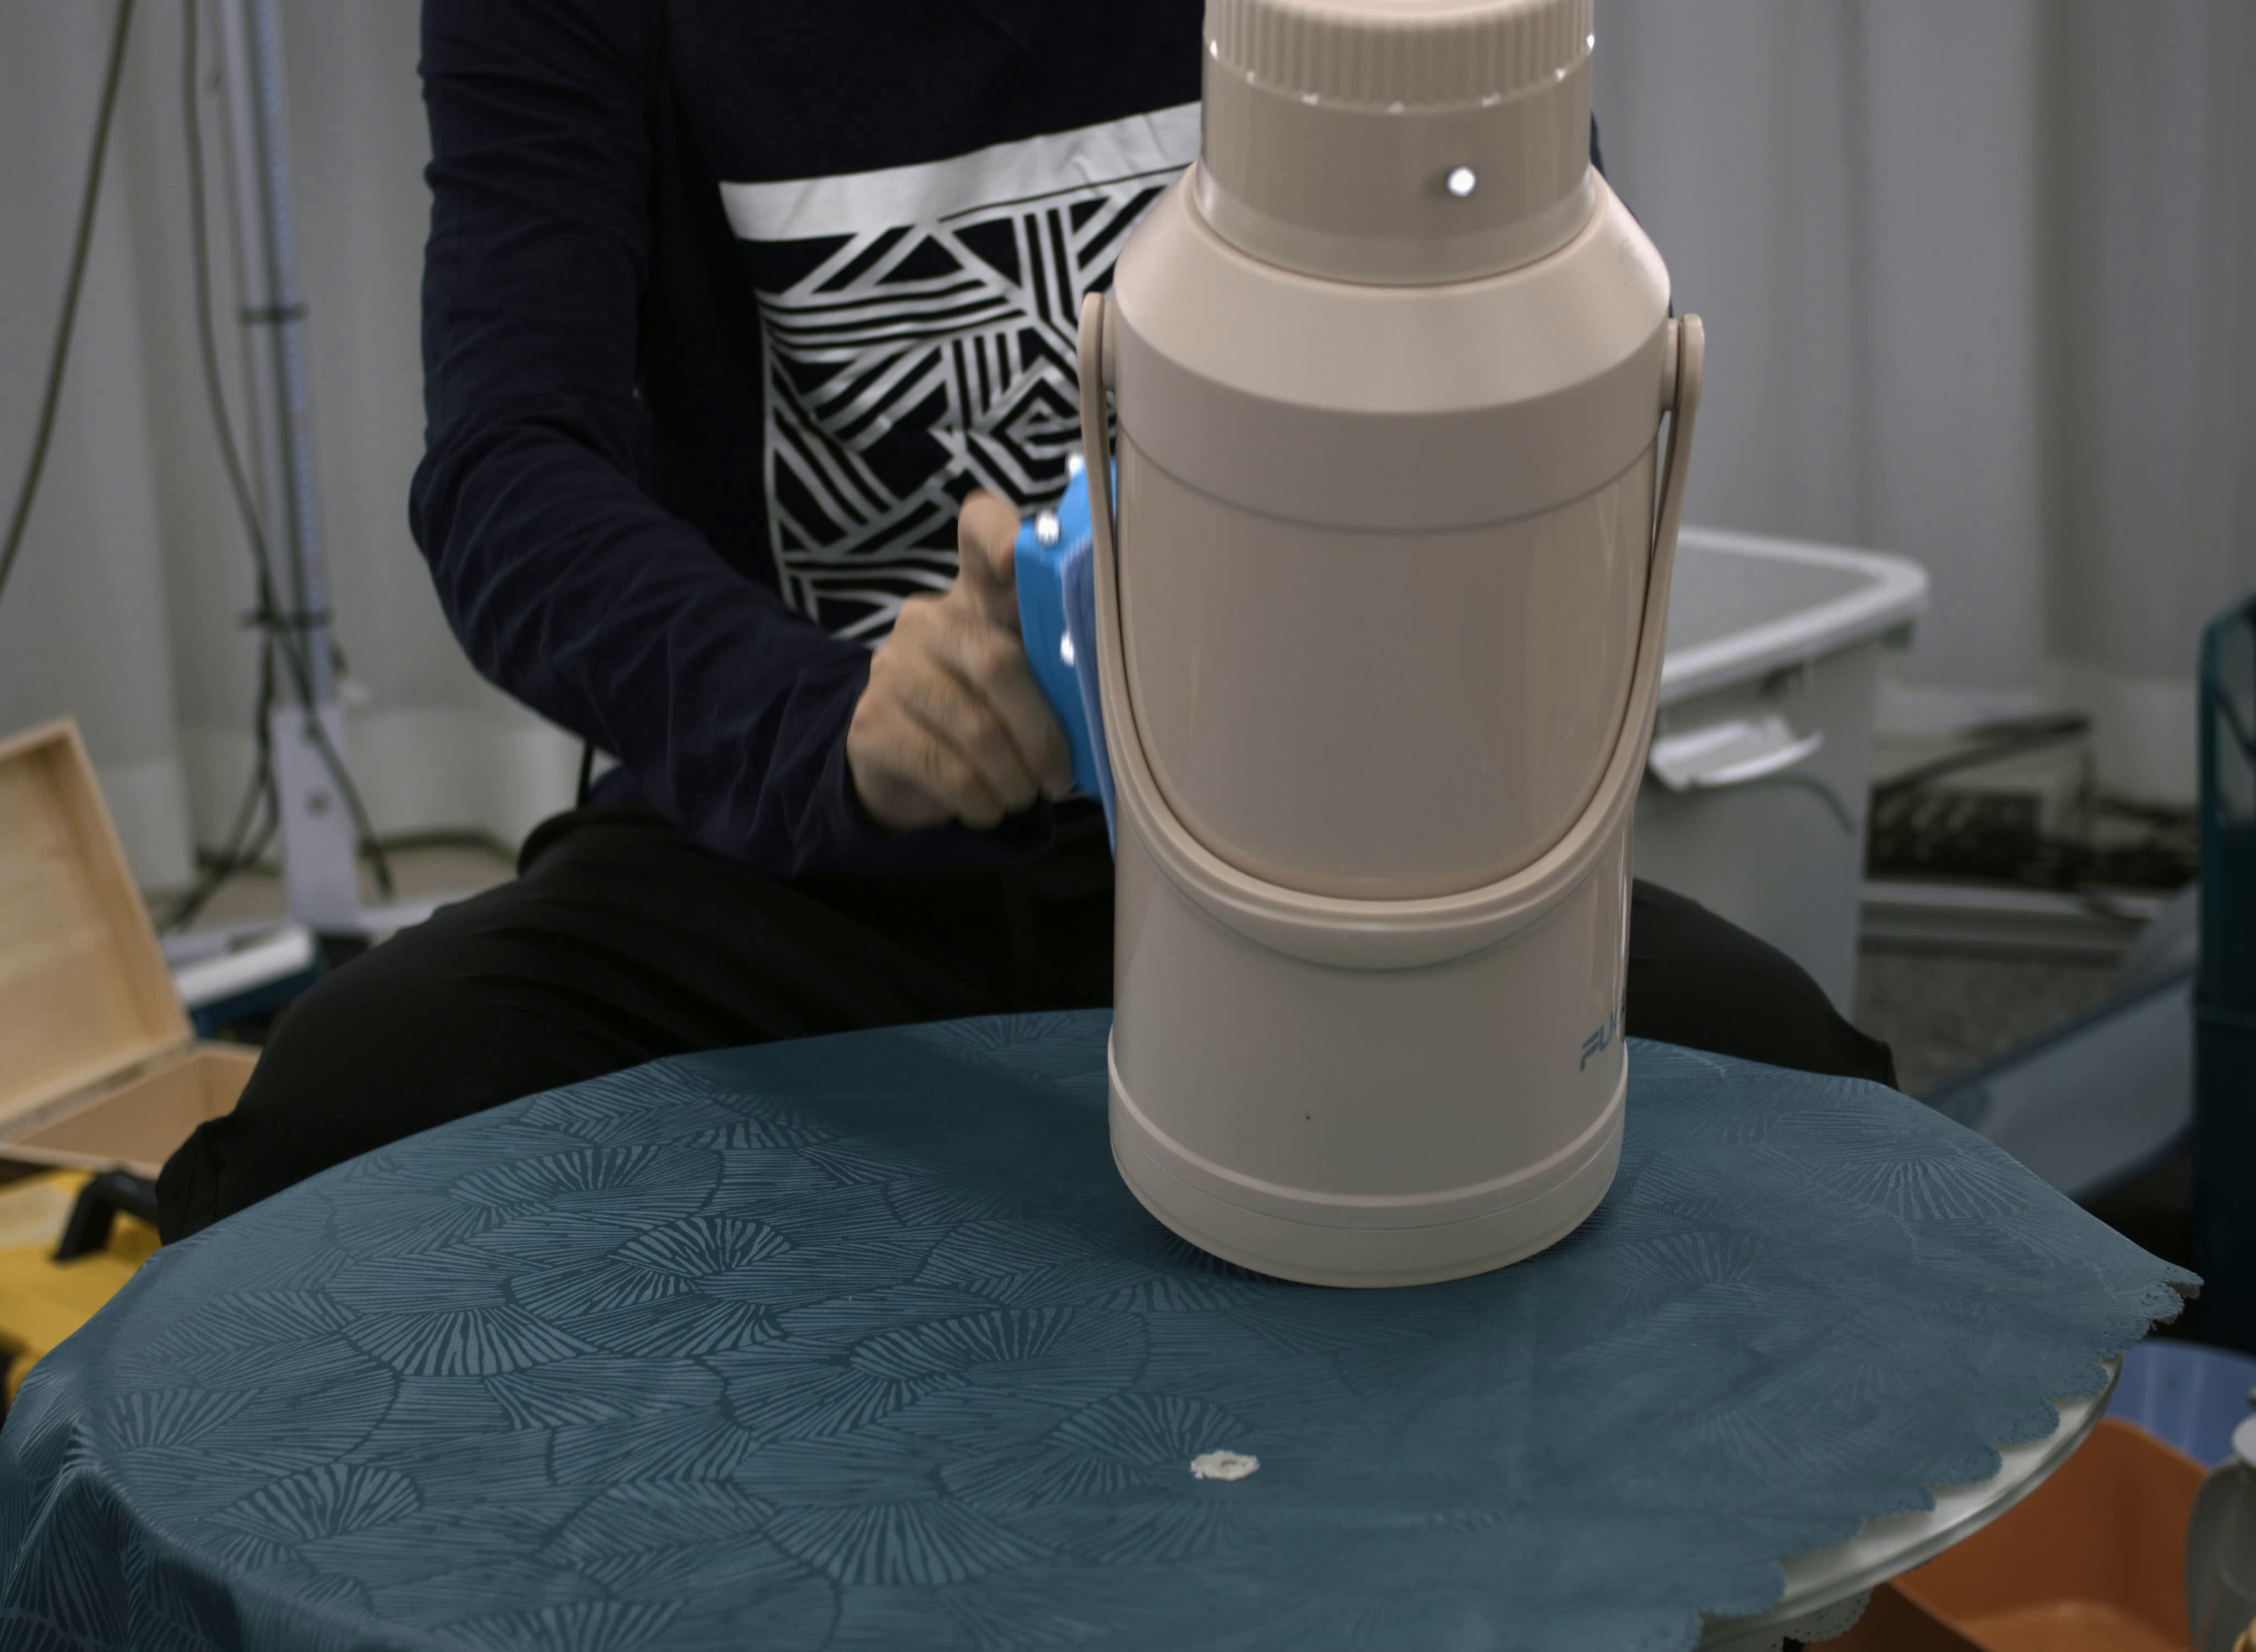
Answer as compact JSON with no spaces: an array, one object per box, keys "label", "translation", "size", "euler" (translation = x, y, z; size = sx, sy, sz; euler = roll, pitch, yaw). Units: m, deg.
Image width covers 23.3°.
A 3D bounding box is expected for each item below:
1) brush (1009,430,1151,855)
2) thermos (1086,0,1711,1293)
[{"label":"brush","translation":[-0.004,-0.062,1.677],"size":[0.056,0.142,0.084],"euler":[29,61,30]},{"label":"thermos","translation":[0.078,-0.079,1.592],"size":[0.175,0.402,0.209],"euler":[0,31,4]}]
